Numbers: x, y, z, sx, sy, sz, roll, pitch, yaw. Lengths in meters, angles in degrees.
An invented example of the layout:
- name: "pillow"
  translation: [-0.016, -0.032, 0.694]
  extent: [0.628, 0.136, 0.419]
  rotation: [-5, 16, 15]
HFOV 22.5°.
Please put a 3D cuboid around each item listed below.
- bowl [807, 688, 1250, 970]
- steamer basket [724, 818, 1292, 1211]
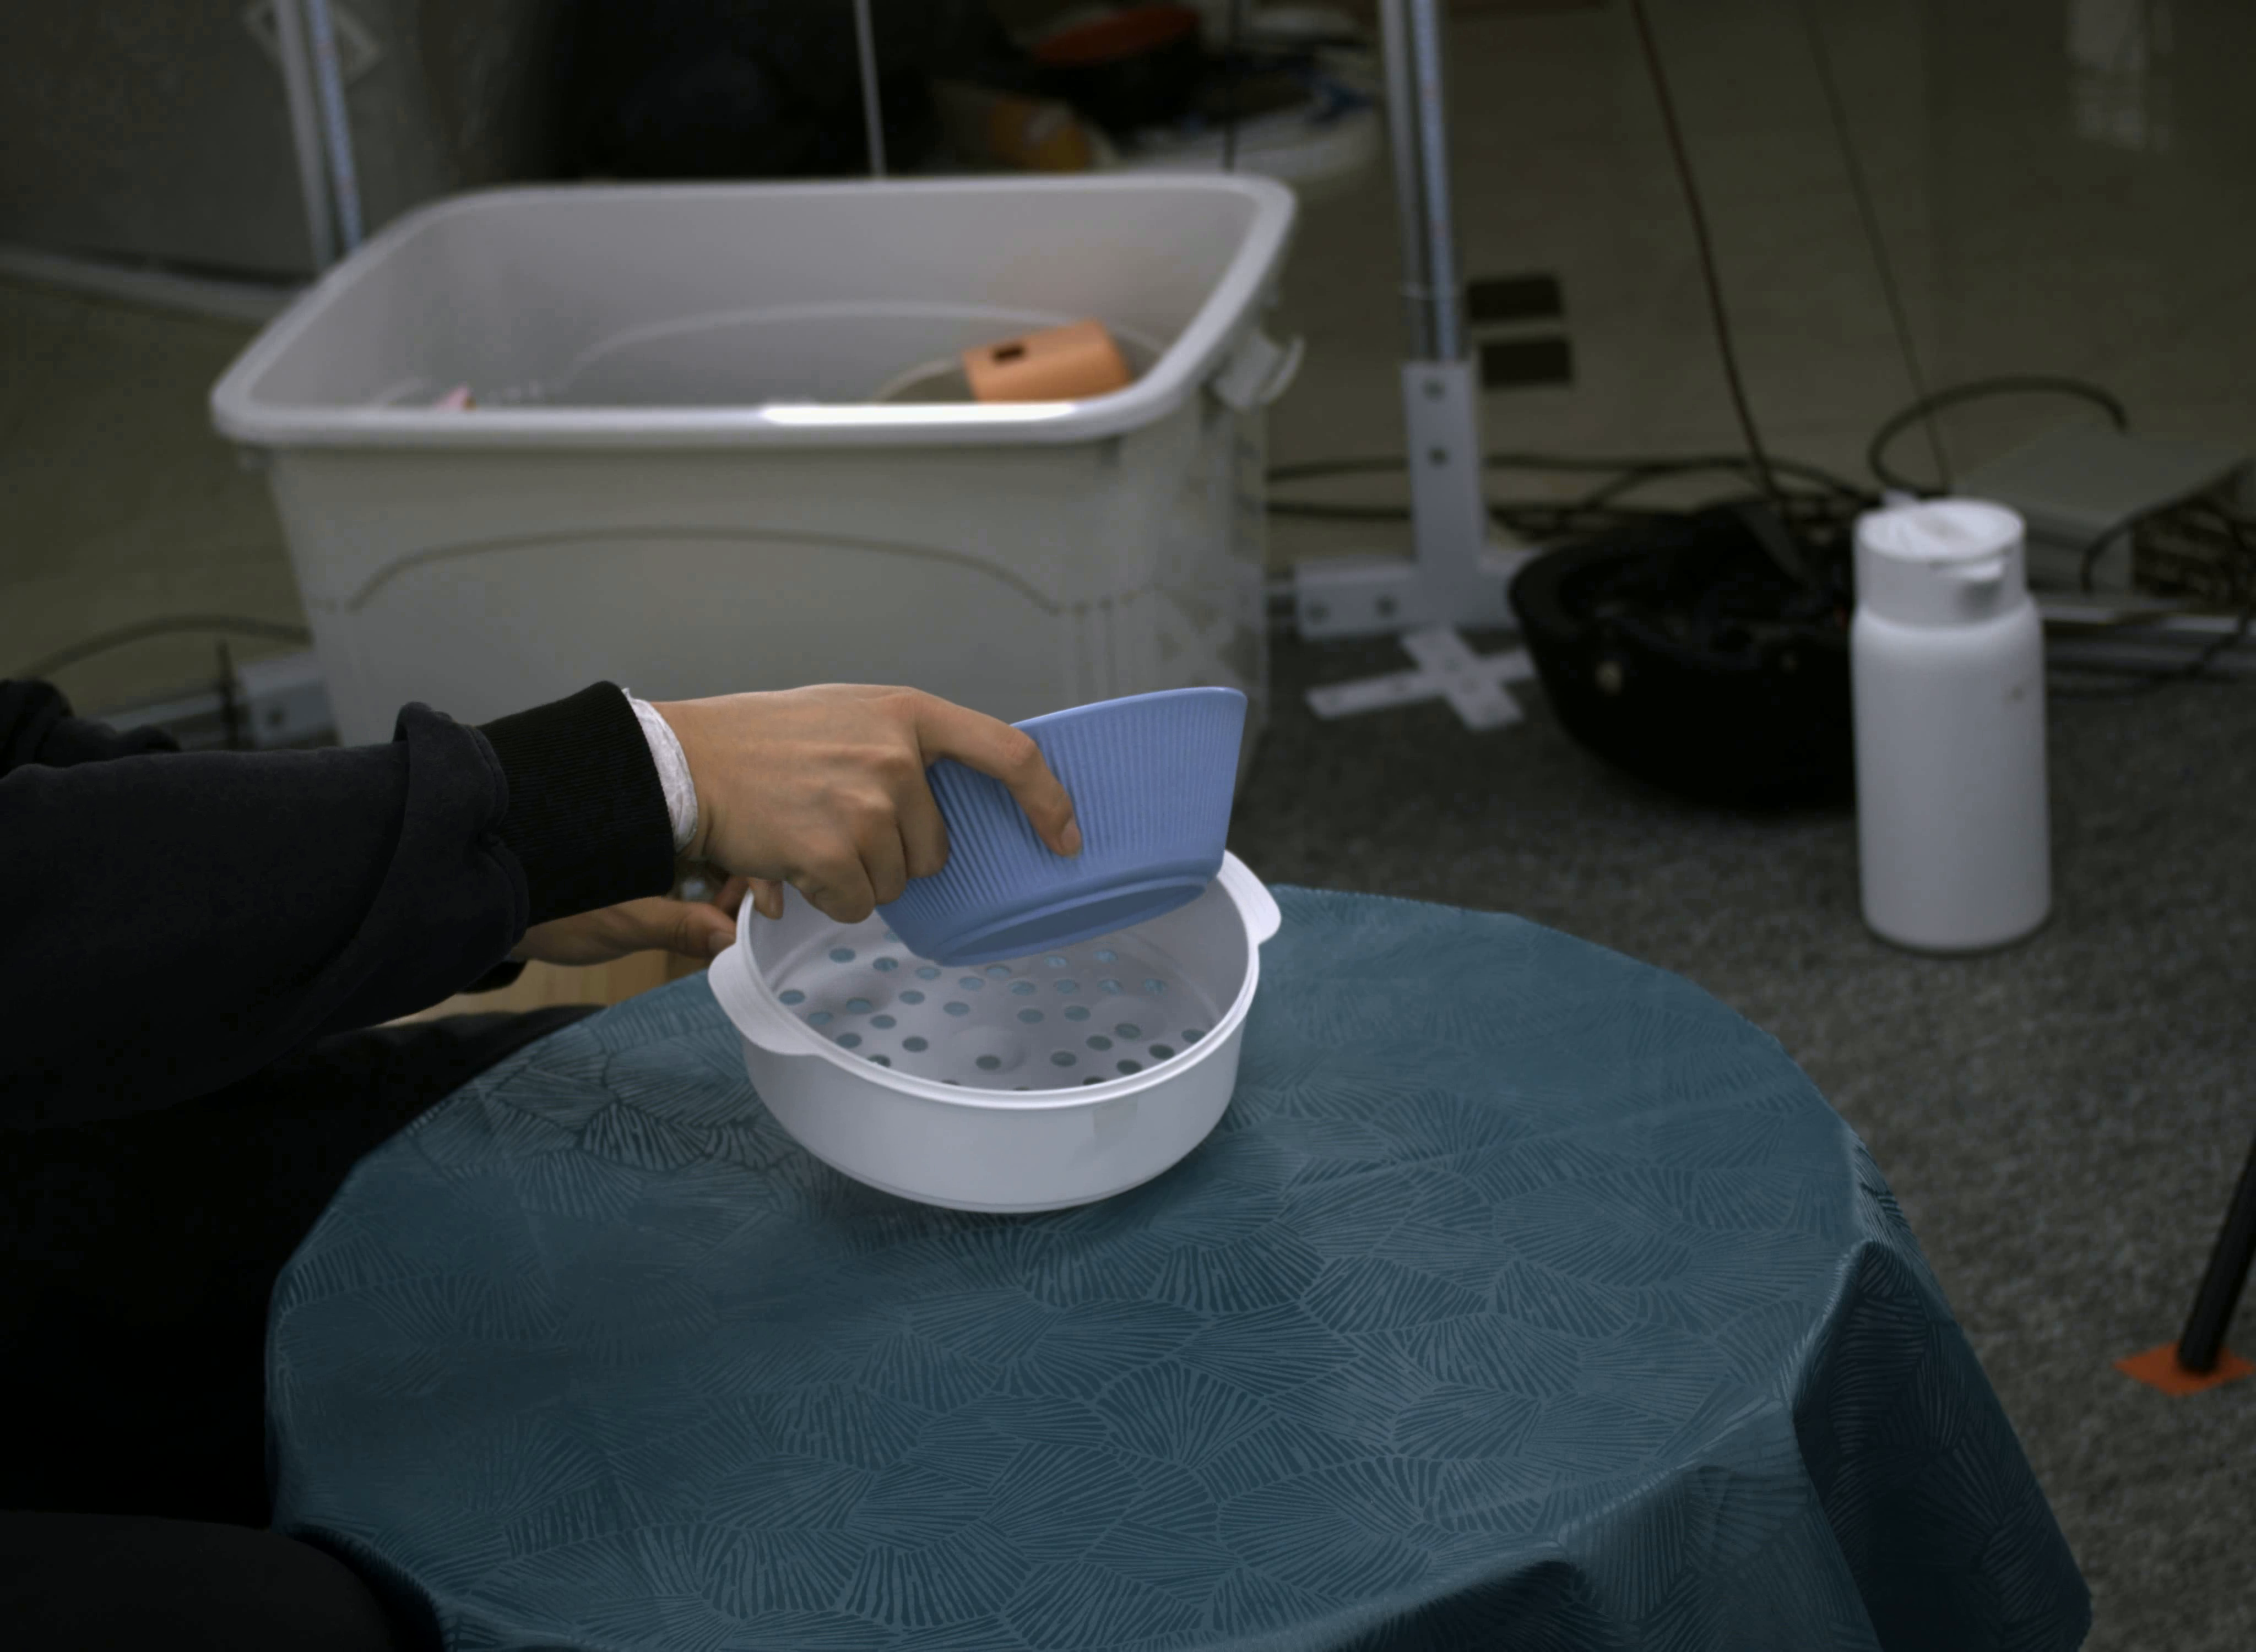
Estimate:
- name: "bowl"
  translation: [-0.029, 0.006, 2.150]
  extent: [0.176, 0.070, 0.177]
  rotation: [-16, -8, -2]
- name: "steamer basket"
  translation: [-0.047, 0.067, 2.192]
  extent: [0.230, 0.070, 0.199]
  rotation: [-12, 40, -27]
